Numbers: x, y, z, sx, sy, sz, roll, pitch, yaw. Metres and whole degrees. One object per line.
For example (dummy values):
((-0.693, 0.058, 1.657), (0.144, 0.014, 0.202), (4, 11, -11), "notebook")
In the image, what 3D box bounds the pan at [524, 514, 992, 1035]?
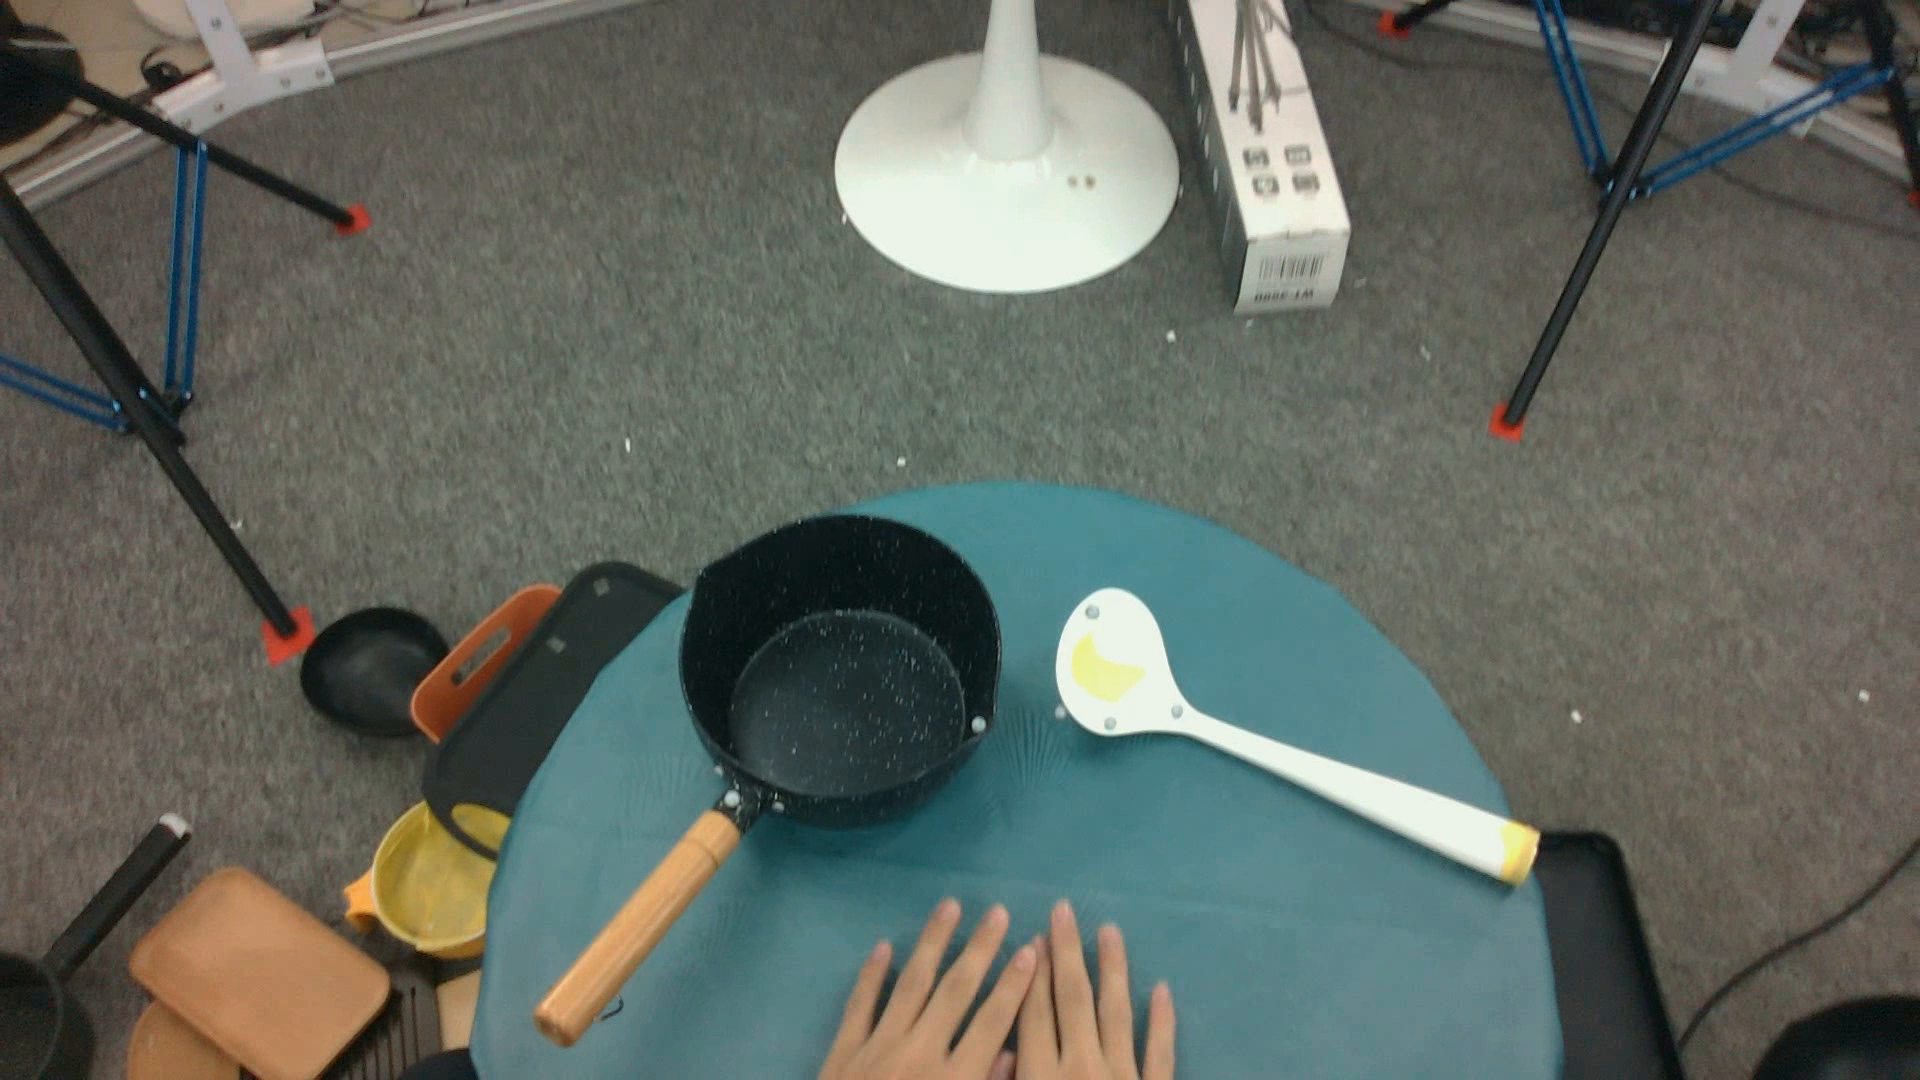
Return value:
((-0.112, 0.134, 0.765), (0.207, 0.107, 0.344), (25, 56, 14), "pan")

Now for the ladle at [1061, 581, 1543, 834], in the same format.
((0.202, 0.107, 0.822), (0.293, 0.070, 0.090), (18, 70, 12), "ladle")
